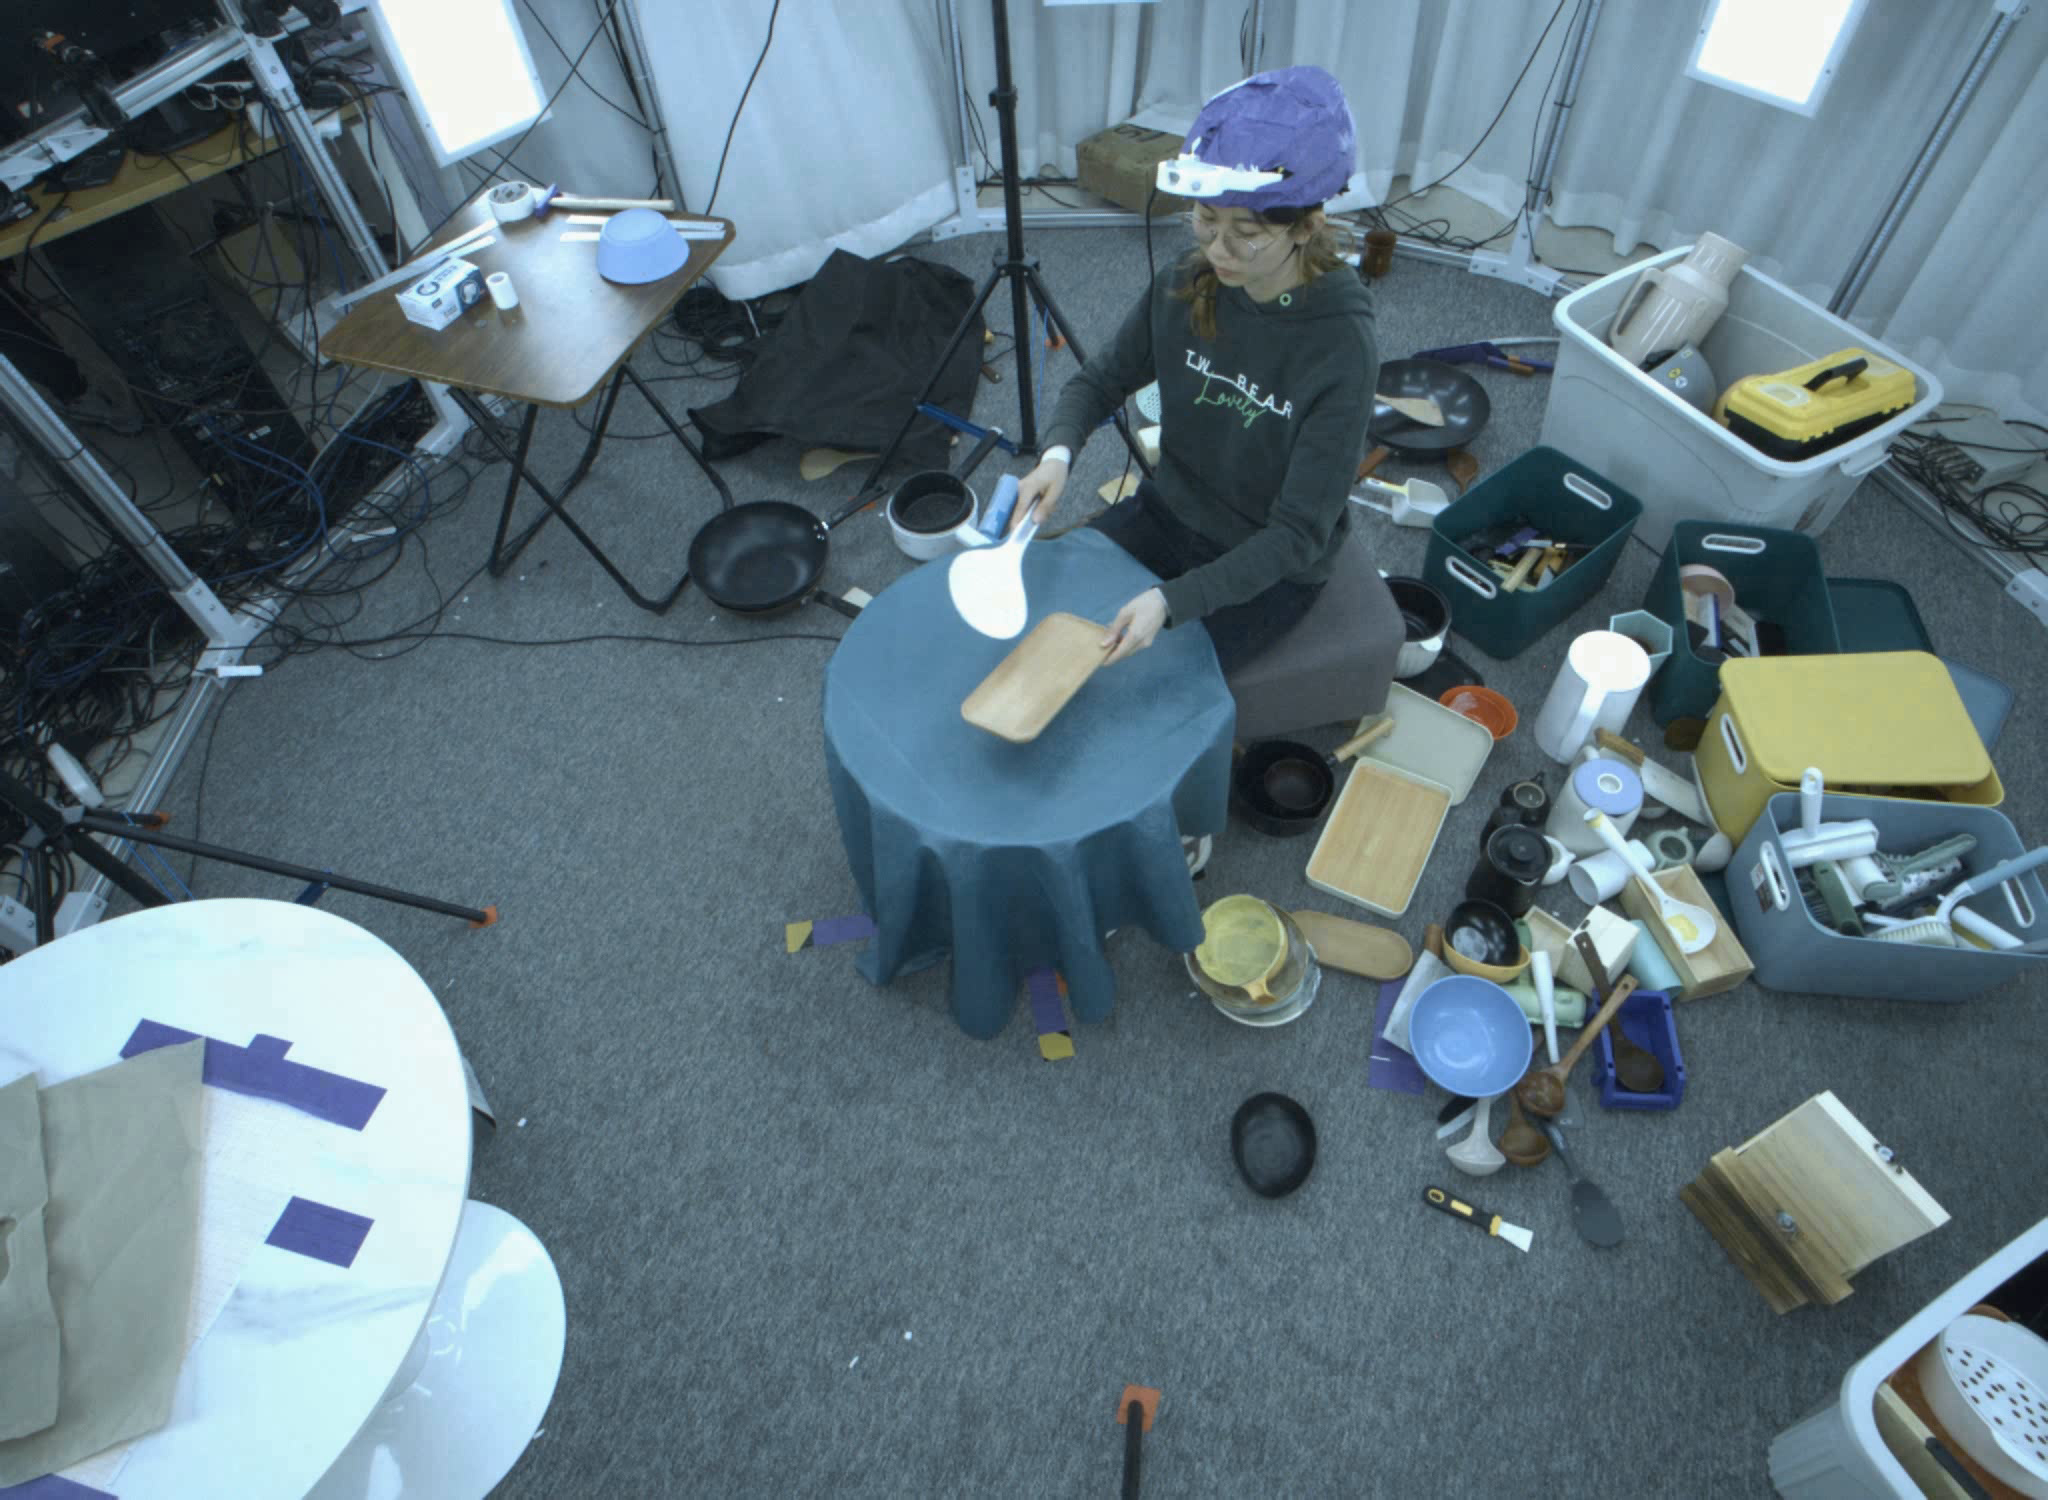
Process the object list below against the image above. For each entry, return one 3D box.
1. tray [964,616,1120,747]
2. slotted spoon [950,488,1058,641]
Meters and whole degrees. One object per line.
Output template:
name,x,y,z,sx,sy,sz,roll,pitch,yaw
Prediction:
tray,0.028,-0.101,1.768,0.128,0.023,0.252,26,56,25
slotted spoon,-0.019,-0.288,1.817,0.138,0.045,0.350,45,50,-21
